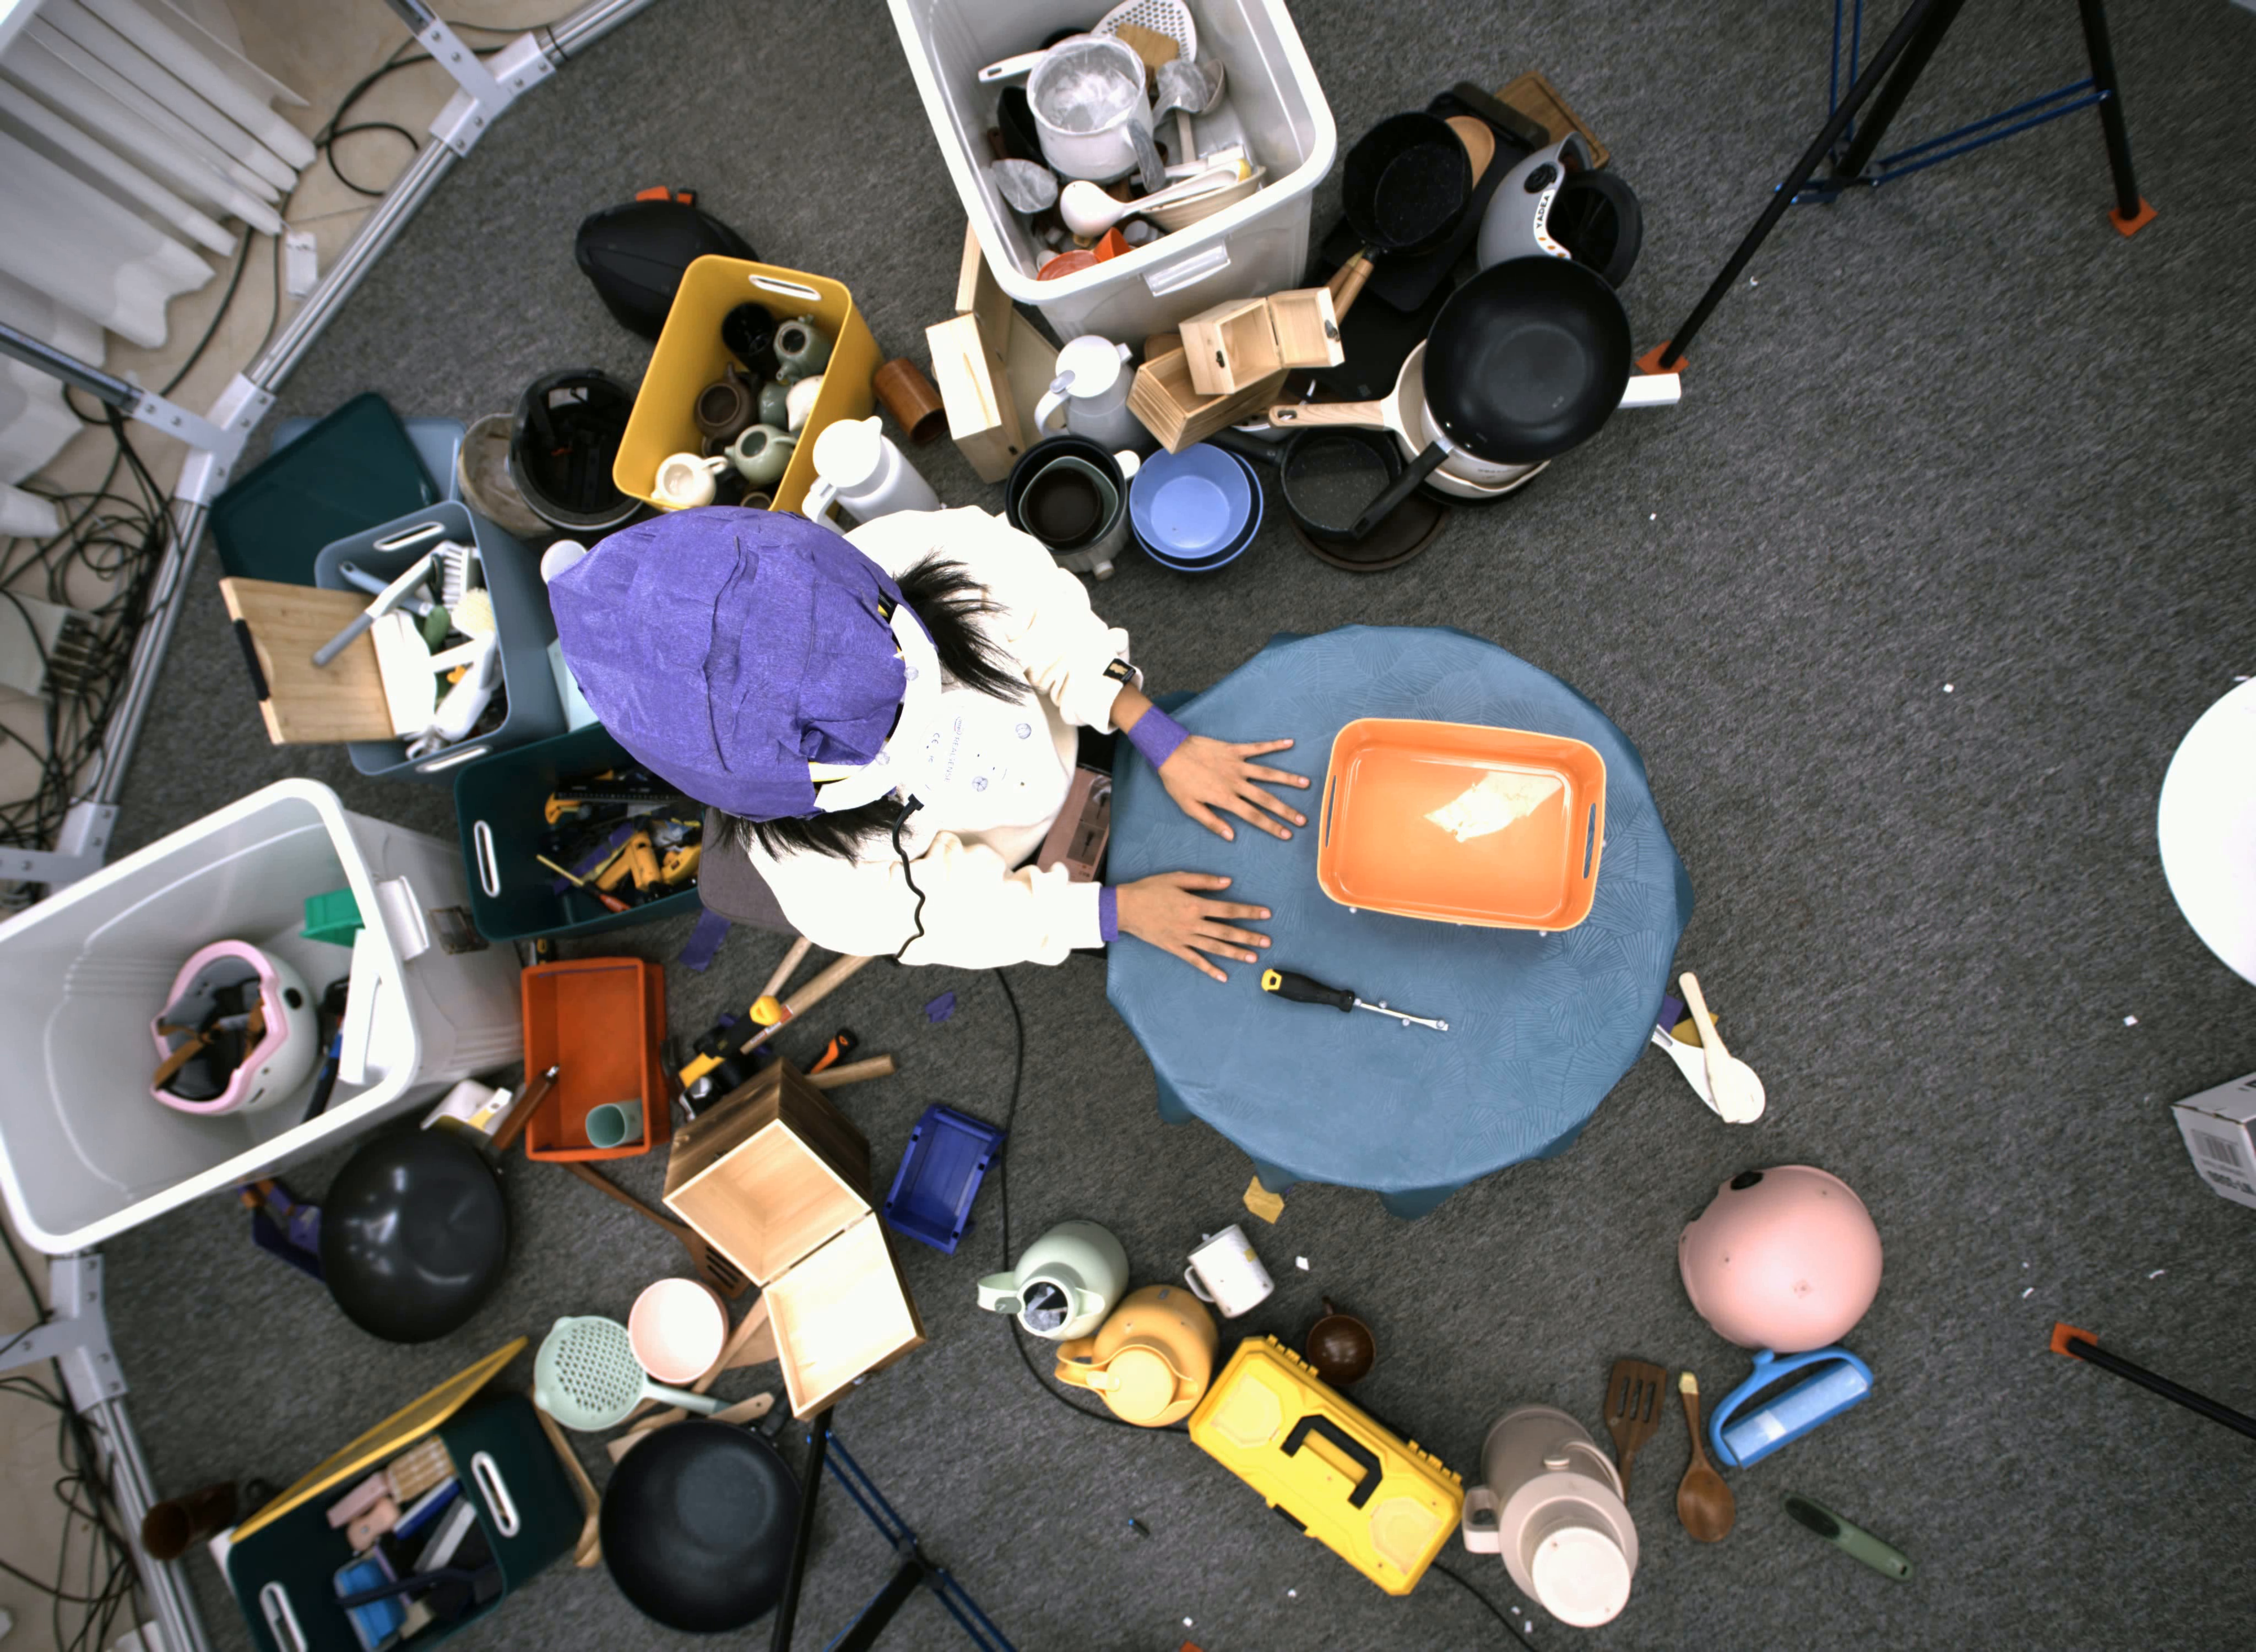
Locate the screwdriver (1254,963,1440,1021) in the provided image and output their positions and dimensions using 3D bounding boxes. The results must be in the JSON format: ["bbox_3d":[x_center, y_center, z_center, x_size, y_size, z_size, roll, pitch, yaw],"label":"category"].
[{"bbox_3d":[0.228,0.172,1.439,0.198,0.031,0.031,11,87,2],"label":"screwdriver"}]

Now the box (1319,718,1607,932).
[{"bbox_3d":[0.336,-0.001,1.399,0.274,0.102,0.199,6,88,11],"label":"box"}]
